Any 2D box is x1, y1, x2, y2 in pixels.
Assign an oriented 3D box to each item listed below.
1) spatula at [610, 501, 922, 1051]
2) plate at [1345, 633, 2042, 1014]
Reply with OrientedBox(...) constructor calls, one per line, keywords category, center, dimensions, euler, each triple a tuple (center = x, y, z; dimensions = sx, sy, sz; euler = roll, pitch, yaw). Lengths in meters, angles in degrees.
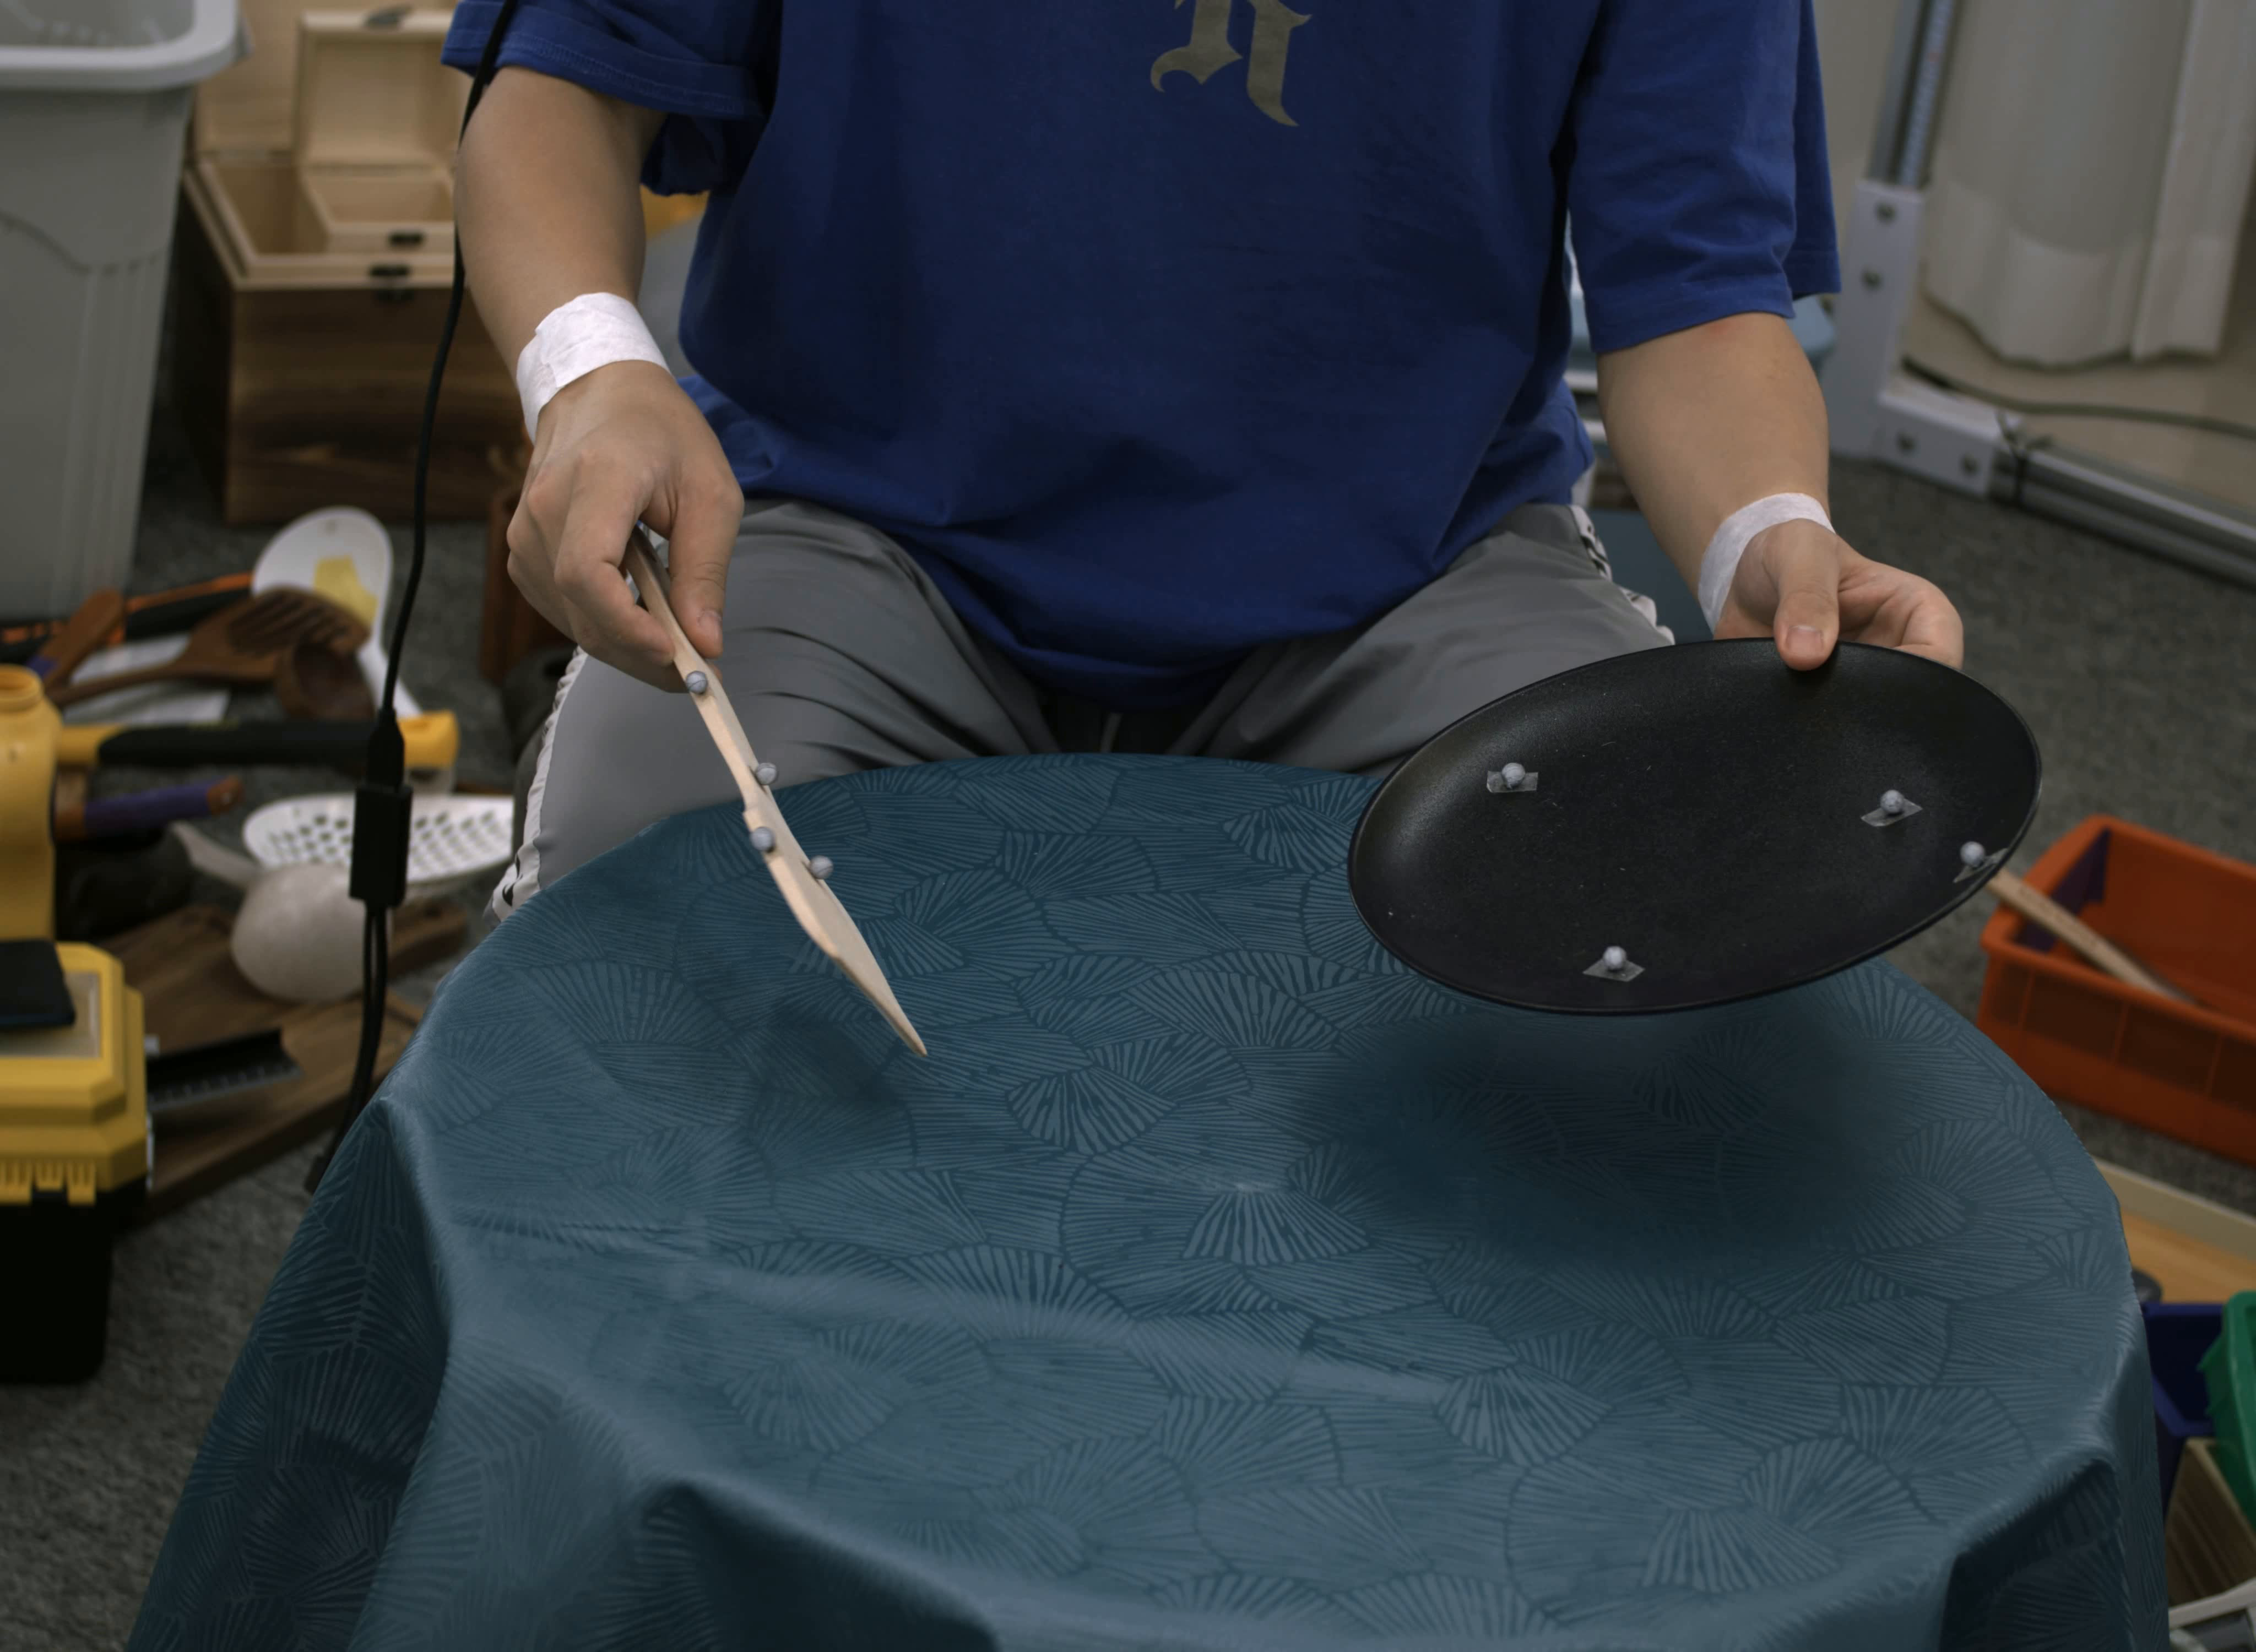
OrientedBox(category="spatula", center=(-0.140, -0.028, 1.912), dimensions=(0.010, 0.071, 0.296), euler=(-36, 44, 6))
OrientedBox(category="plate", center=(0.196, 0.003, 1.849), dimensions=(0.244, 0.023, 0.246), euler=(-11, 29, 6))
